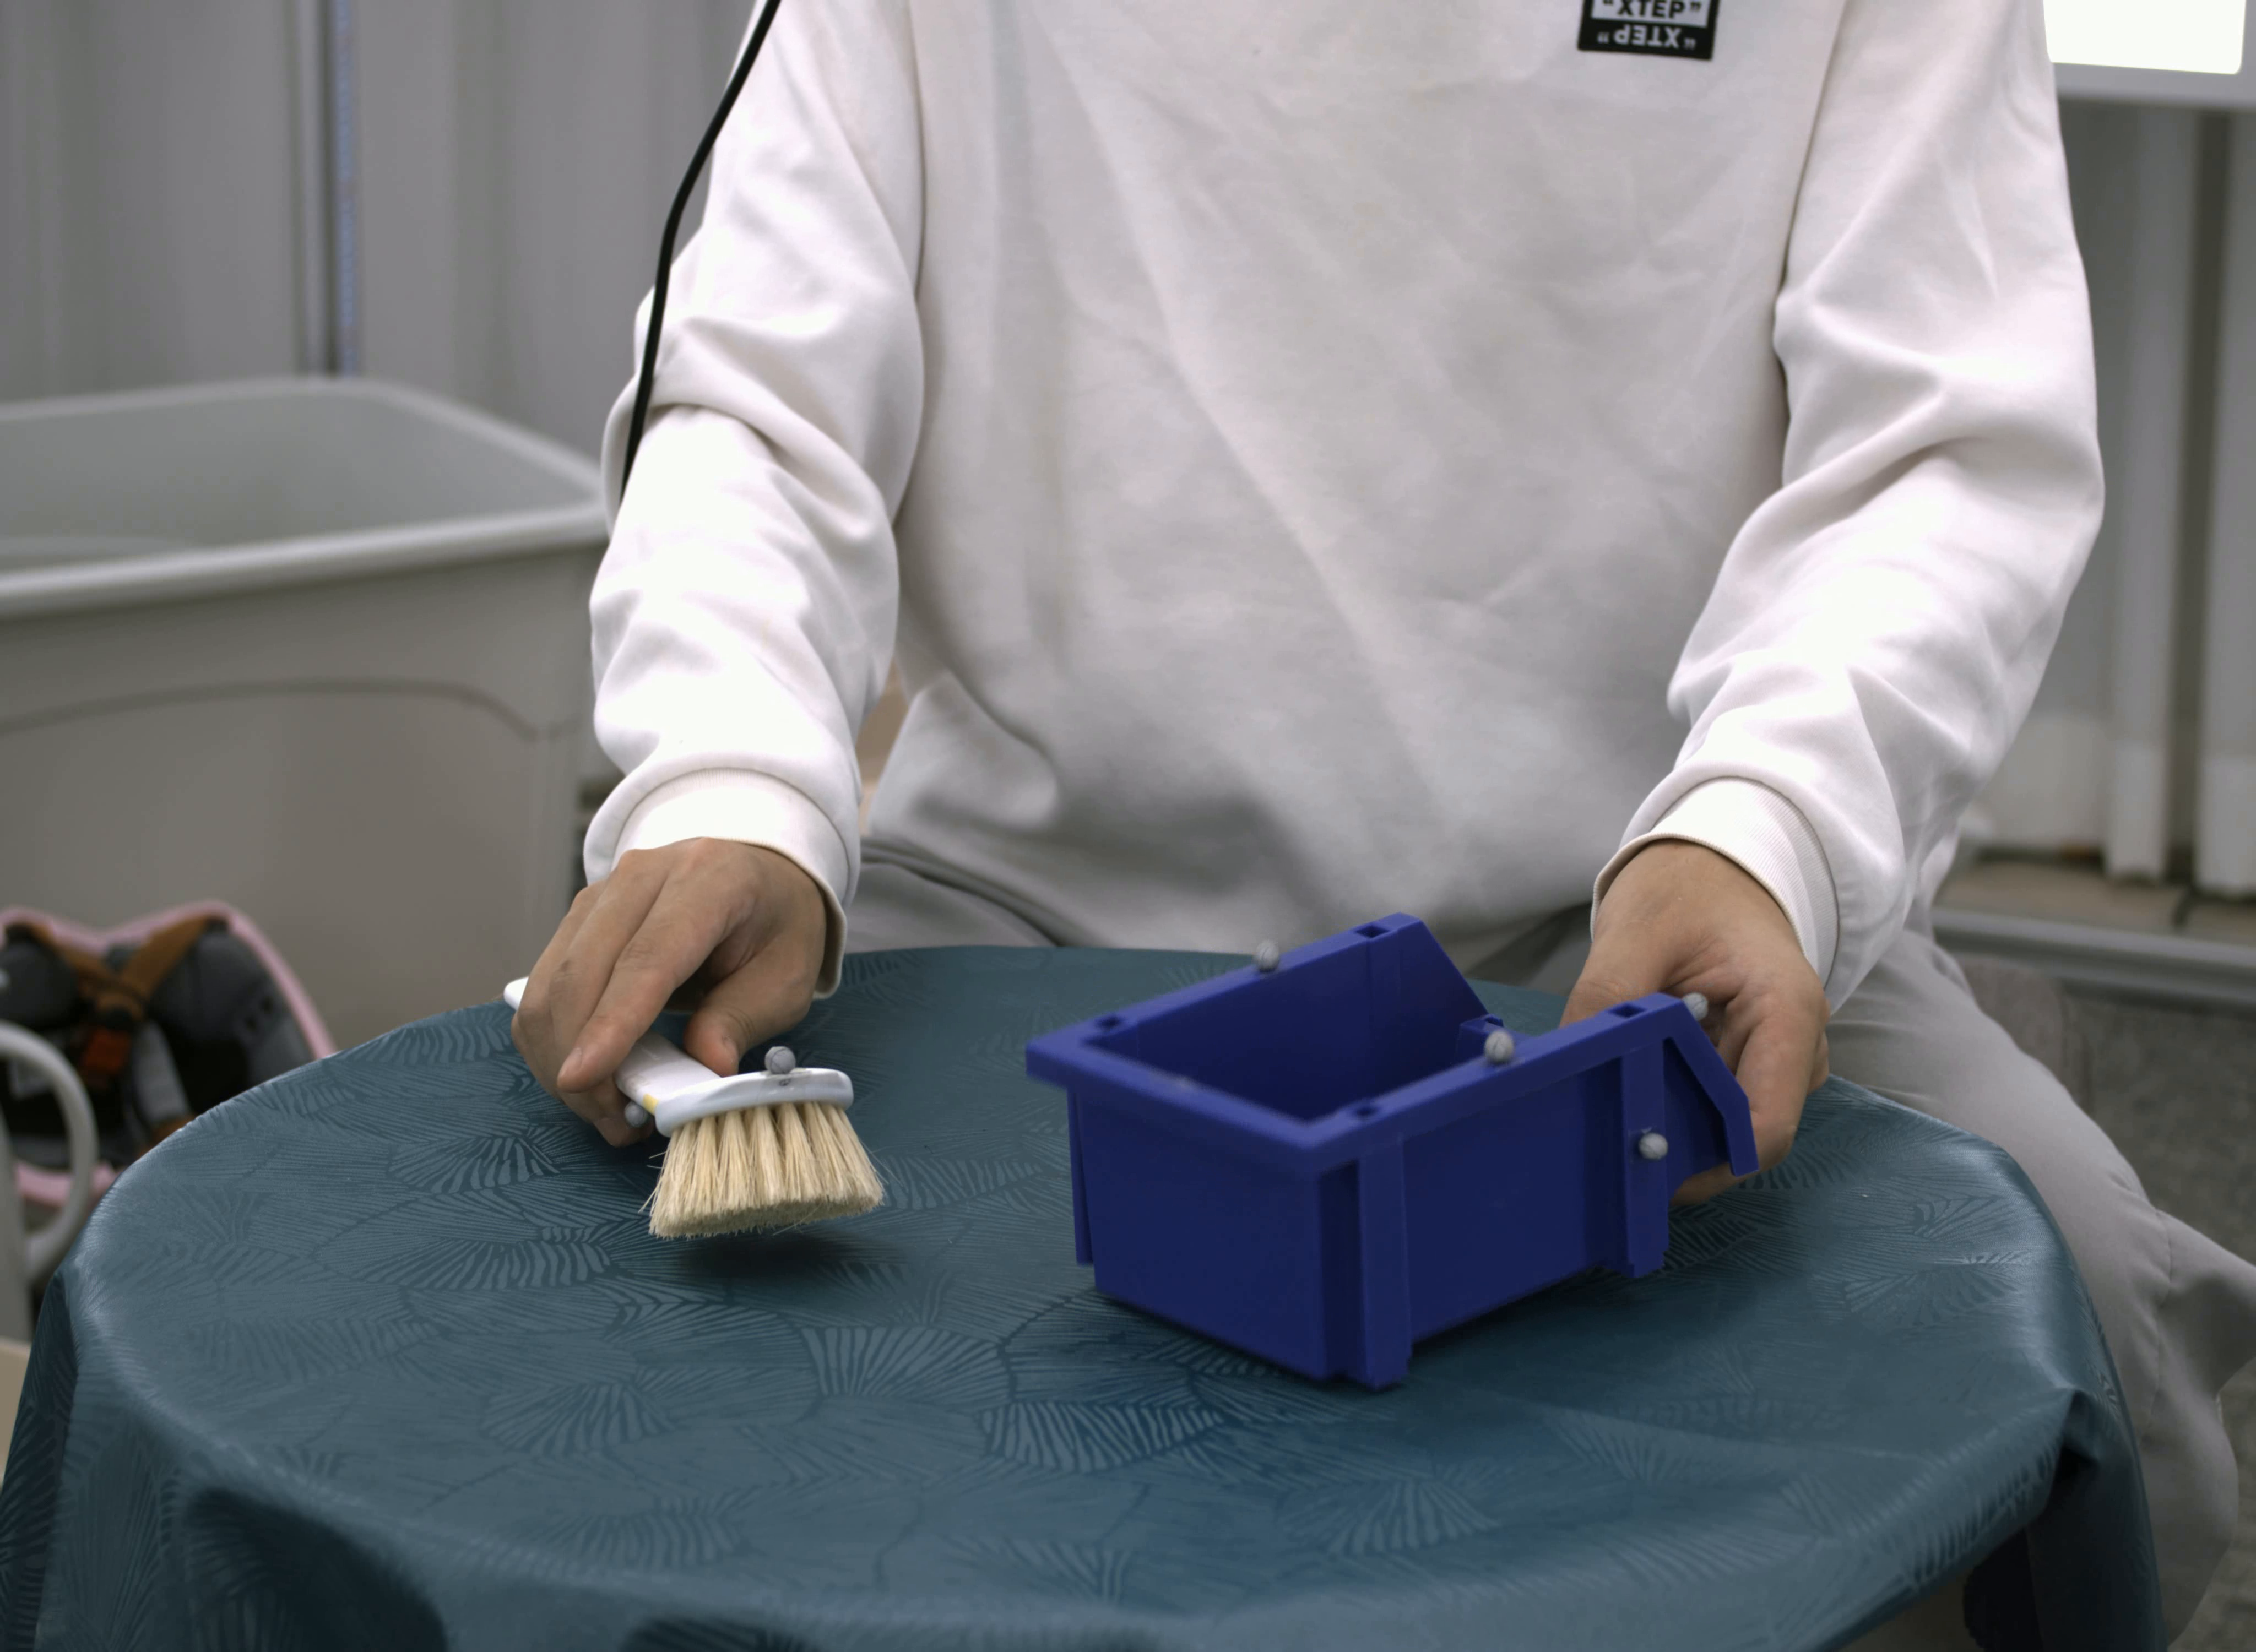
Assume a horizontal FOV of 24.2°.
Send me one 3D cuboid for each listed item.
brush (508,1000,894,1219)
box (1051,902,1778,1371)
[{"bbox_3d":[-0.144,0.088,1.653,0.069,0.056,0.264,5,-1,-25],"label":"brush"},{"bbox_3d":[0.084,0.086,1.541,0.180,0.082,0.123,-19,24,-37],"label":"box"}]
